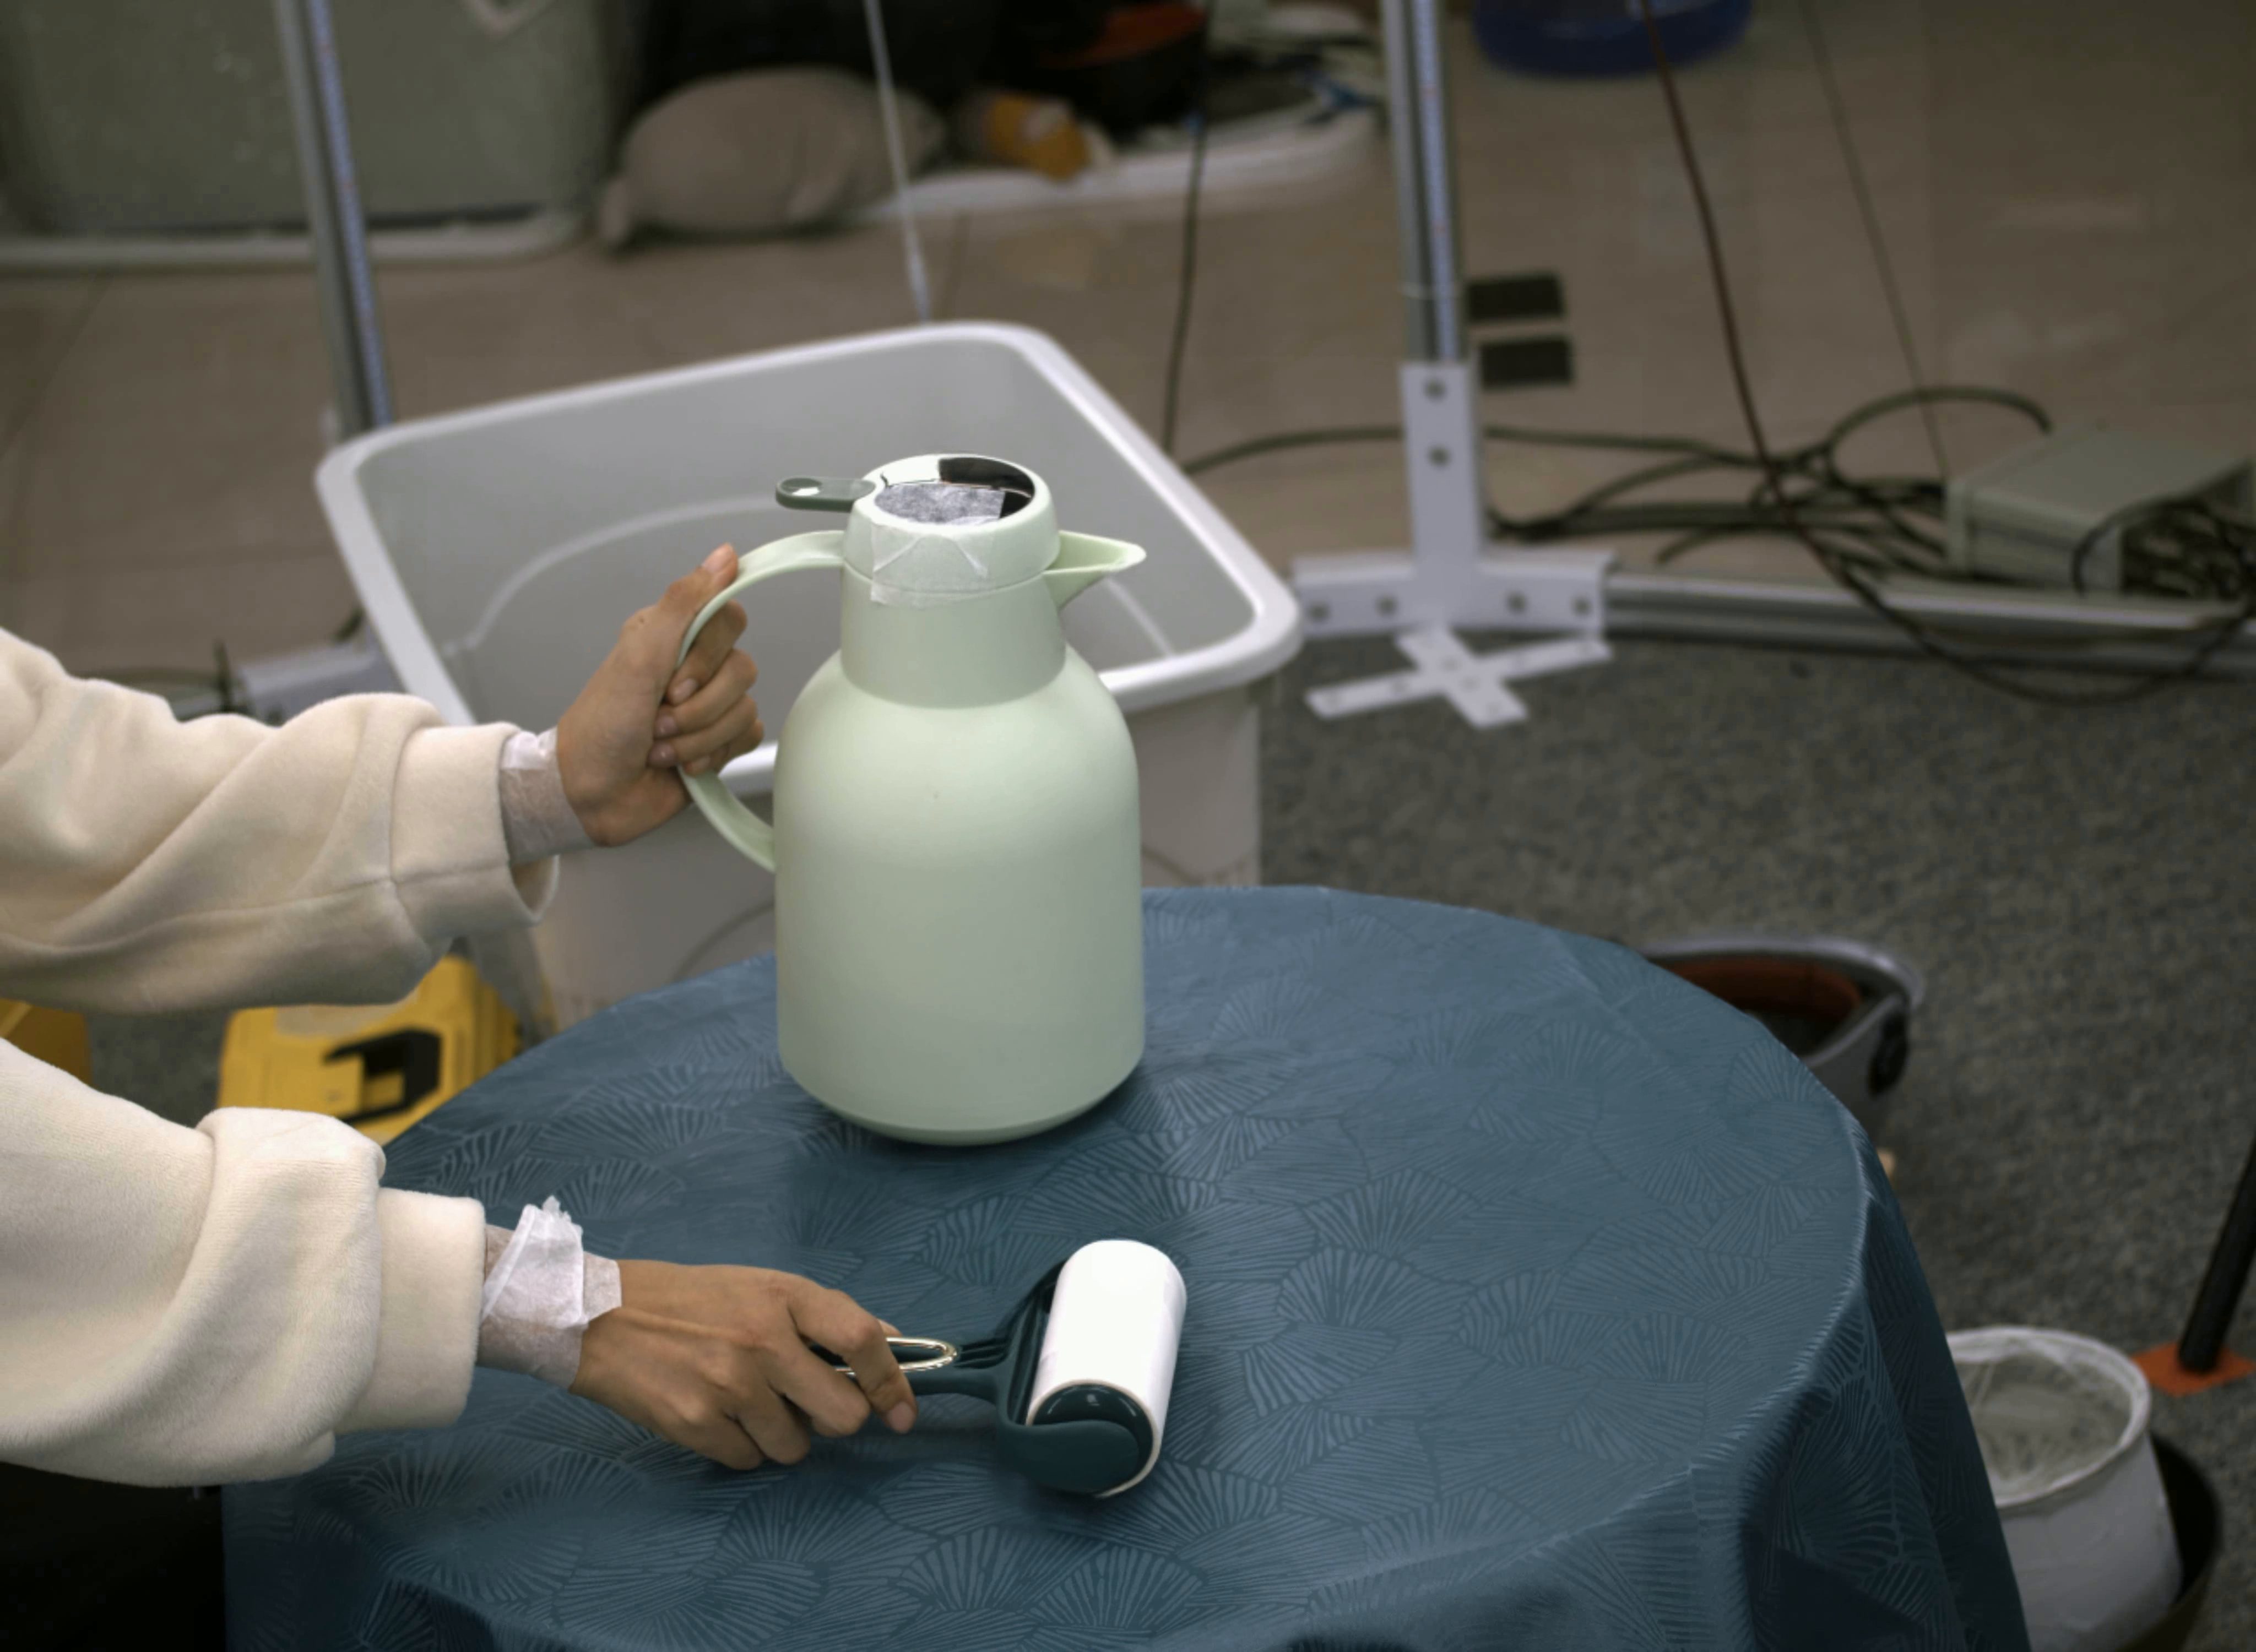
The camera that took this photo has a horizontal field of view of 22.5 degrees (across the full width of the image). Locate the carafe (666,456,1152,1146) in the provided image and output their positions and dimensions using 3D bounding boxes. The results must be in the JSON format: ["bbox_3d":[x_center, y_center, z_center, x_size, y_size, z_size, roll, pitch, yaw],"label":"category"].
[{"bbox_3d":[-0.080,-0.015,2.182,0.186,0.261,0.142,-1,30,6],"label":"carafe"}]

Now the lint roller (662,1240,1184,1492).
[{"bbox_3d":[-0.074,0.182,1.991,0.180,0.049,0.132,5,25,4],"label":"lint roller"}]
